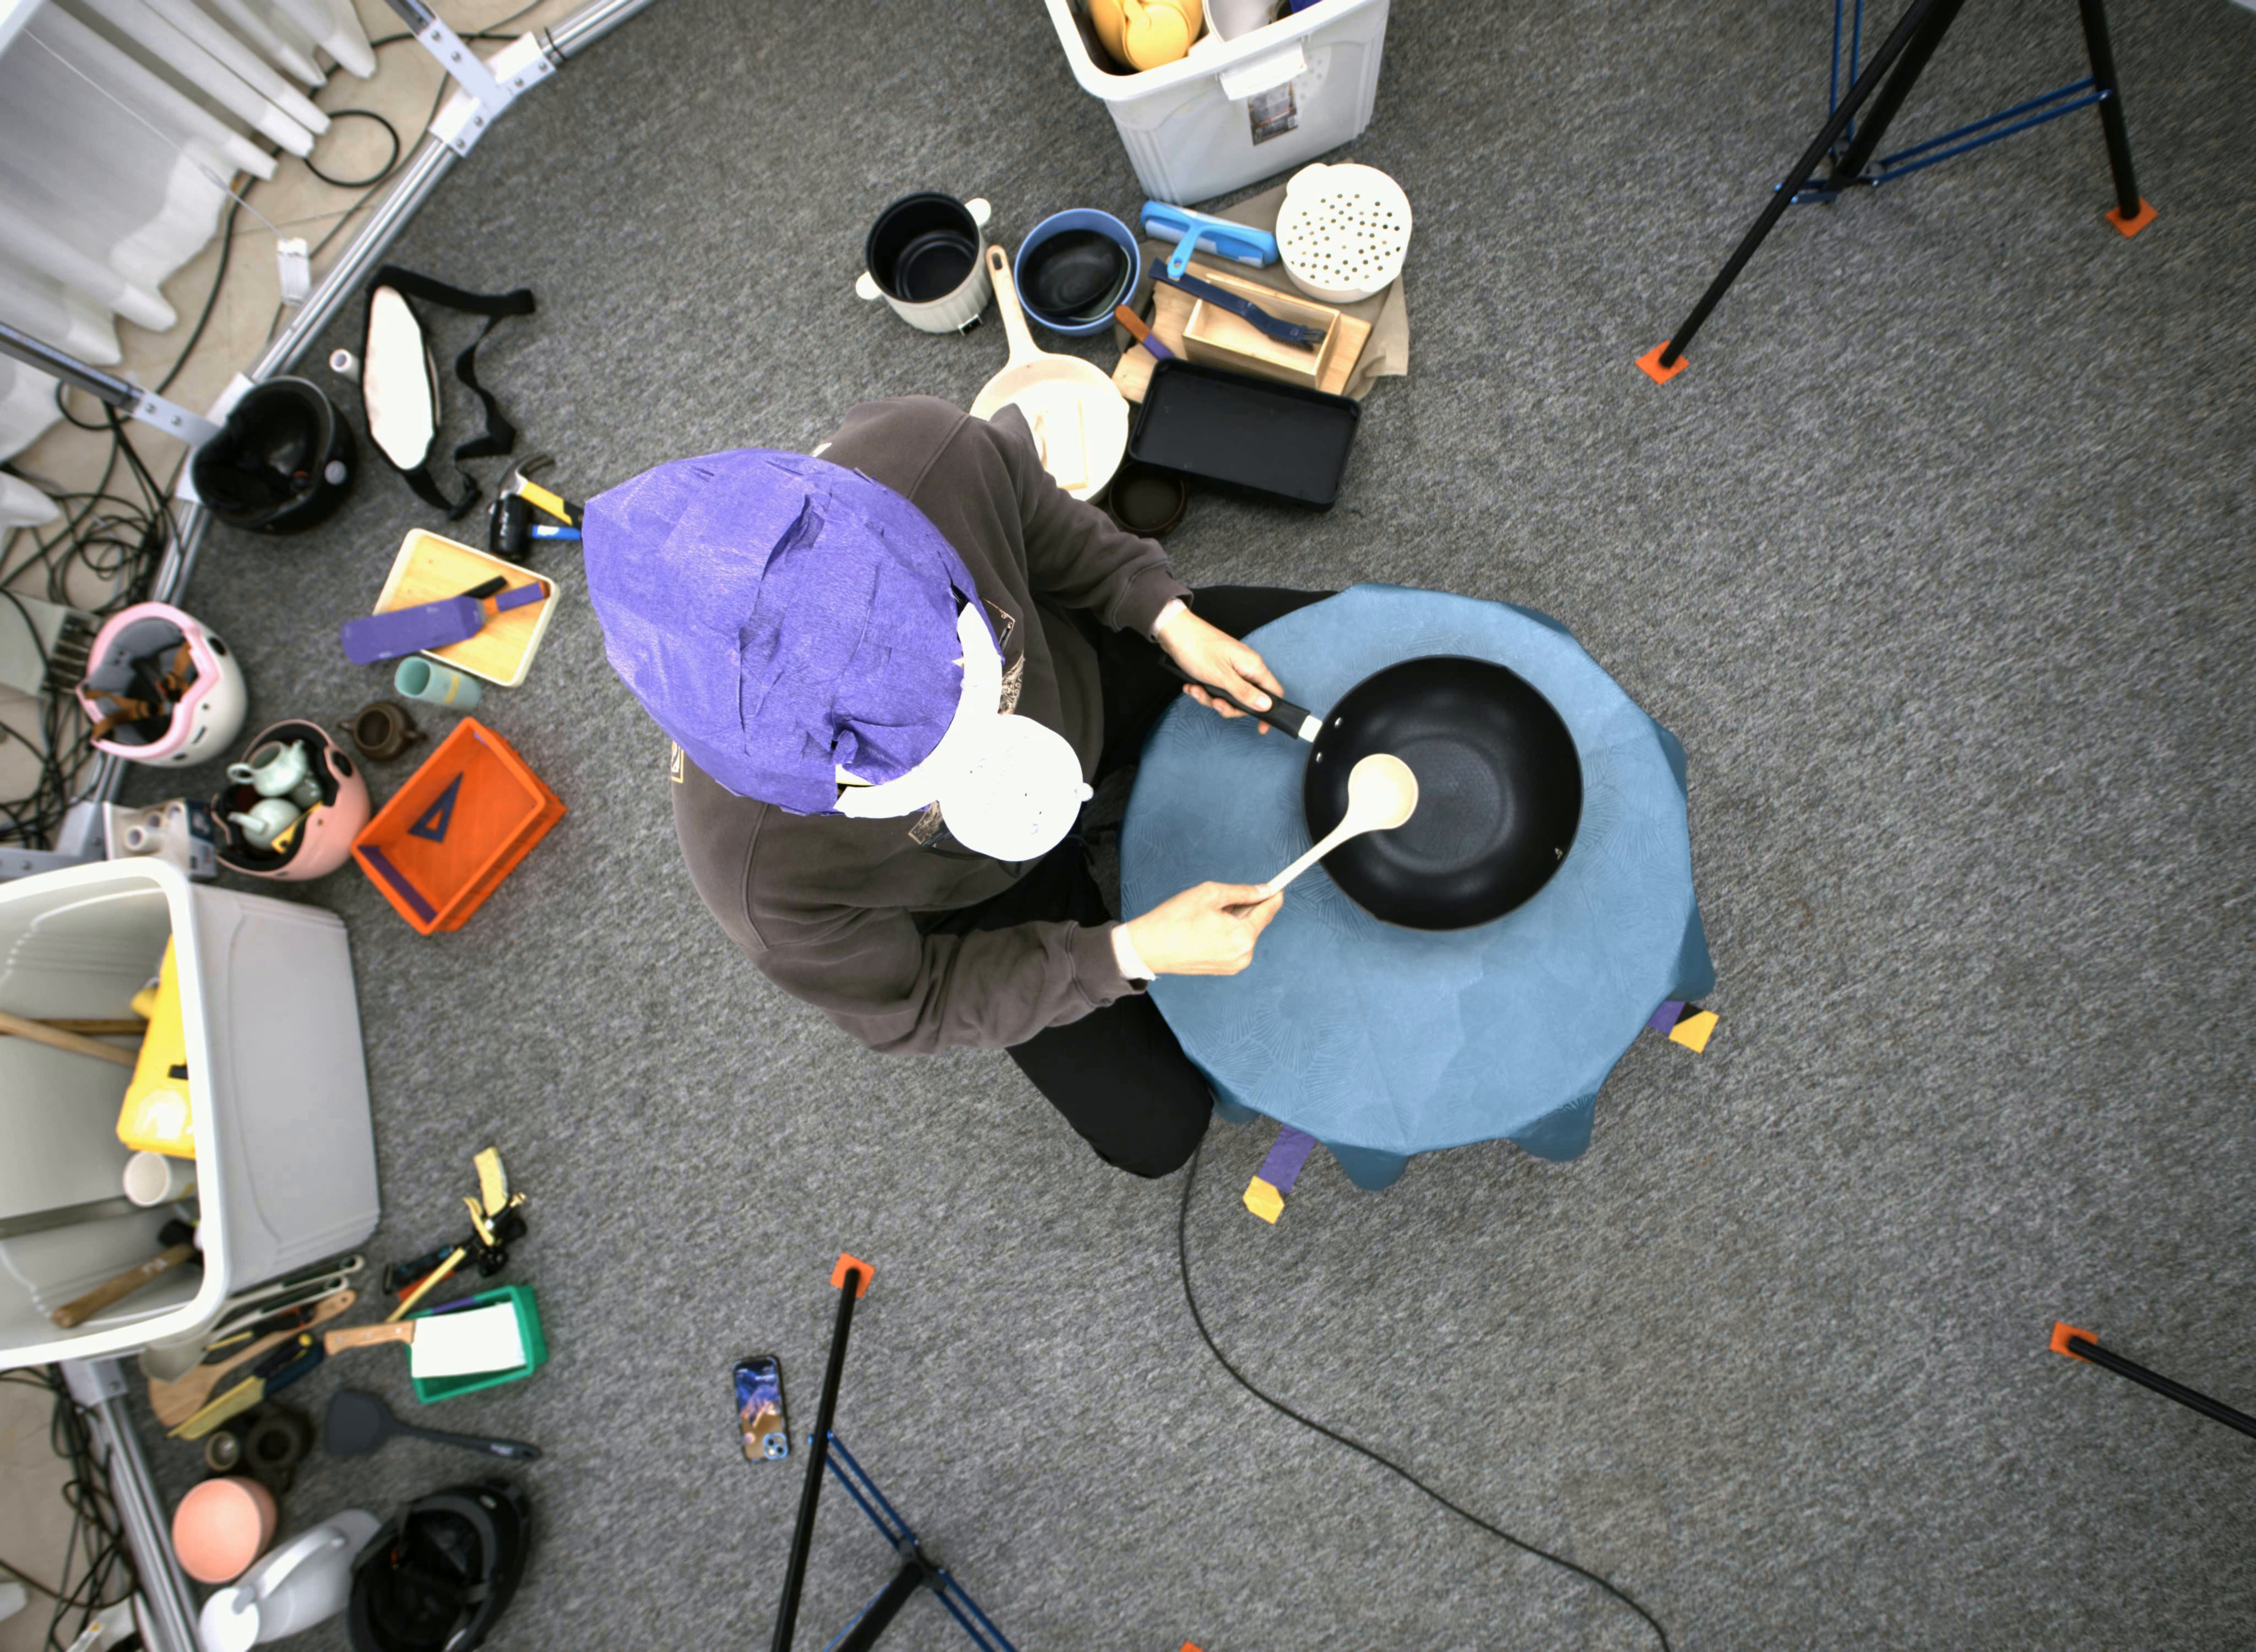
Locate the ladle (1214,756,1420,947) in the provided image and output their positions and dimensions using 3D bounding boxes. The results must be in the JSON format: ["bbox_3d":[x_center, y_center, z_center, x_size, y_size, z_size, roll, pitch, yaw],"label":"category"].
[{"bbox_3d":[0.177,0.021,1.292,0.250,0.074,0.071,-38,75,-24],"label":"ladle"}]

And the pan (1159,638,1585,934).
[{"bbox_3d":[0.240,-0.072,1.428,0.462,0.087,0.288,28,92,12],"label":"pan"}]
